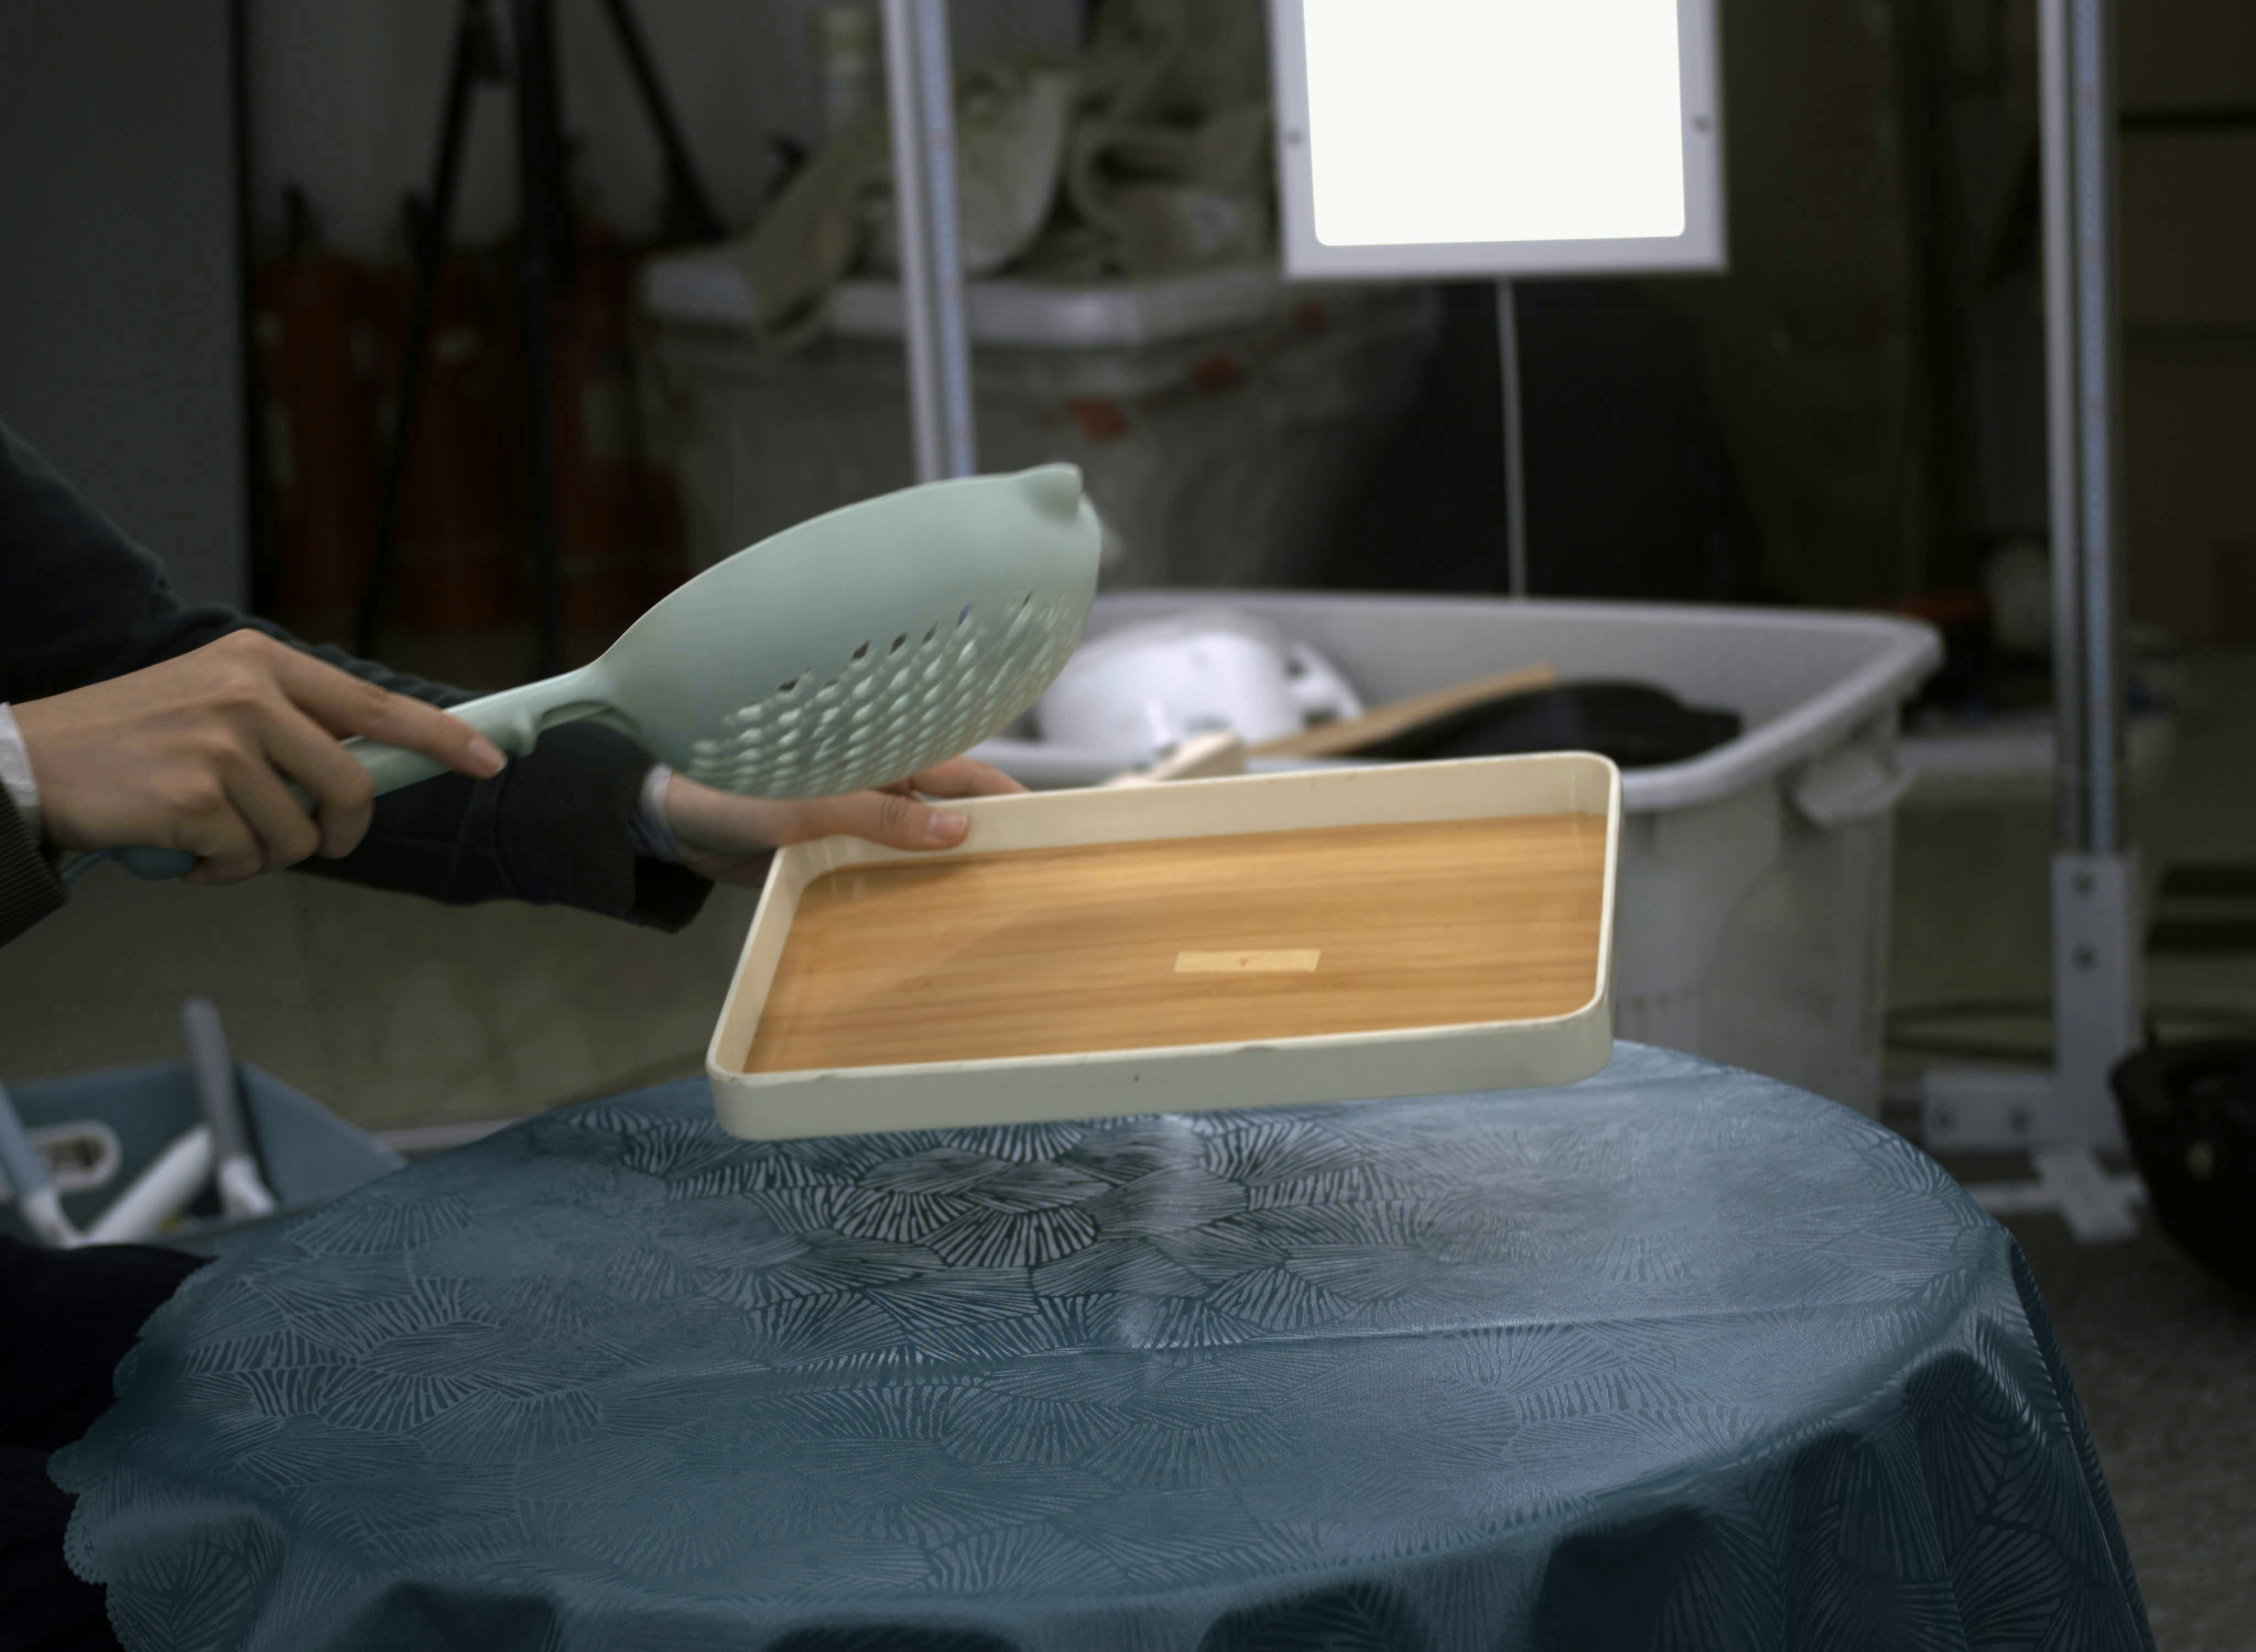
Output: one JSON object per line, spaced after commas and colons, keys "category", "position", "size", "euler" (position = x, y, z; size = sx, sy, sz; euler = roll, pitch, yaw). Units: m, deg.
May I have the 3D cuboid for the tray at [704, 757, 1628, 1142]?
{"category": "tray", "position": [0.017, 0.041, 1.860], "size": [0.302, 0.027, 0.190], "euler": [-4, 28, 12]}

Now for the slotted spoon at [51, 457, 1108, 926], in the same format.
{"category": "slotted spoon", "position": [-0.172, -0.035, 1.763], "size": [0.354, 0.075, 0.171], "euler": [-10, -18, -11]}
